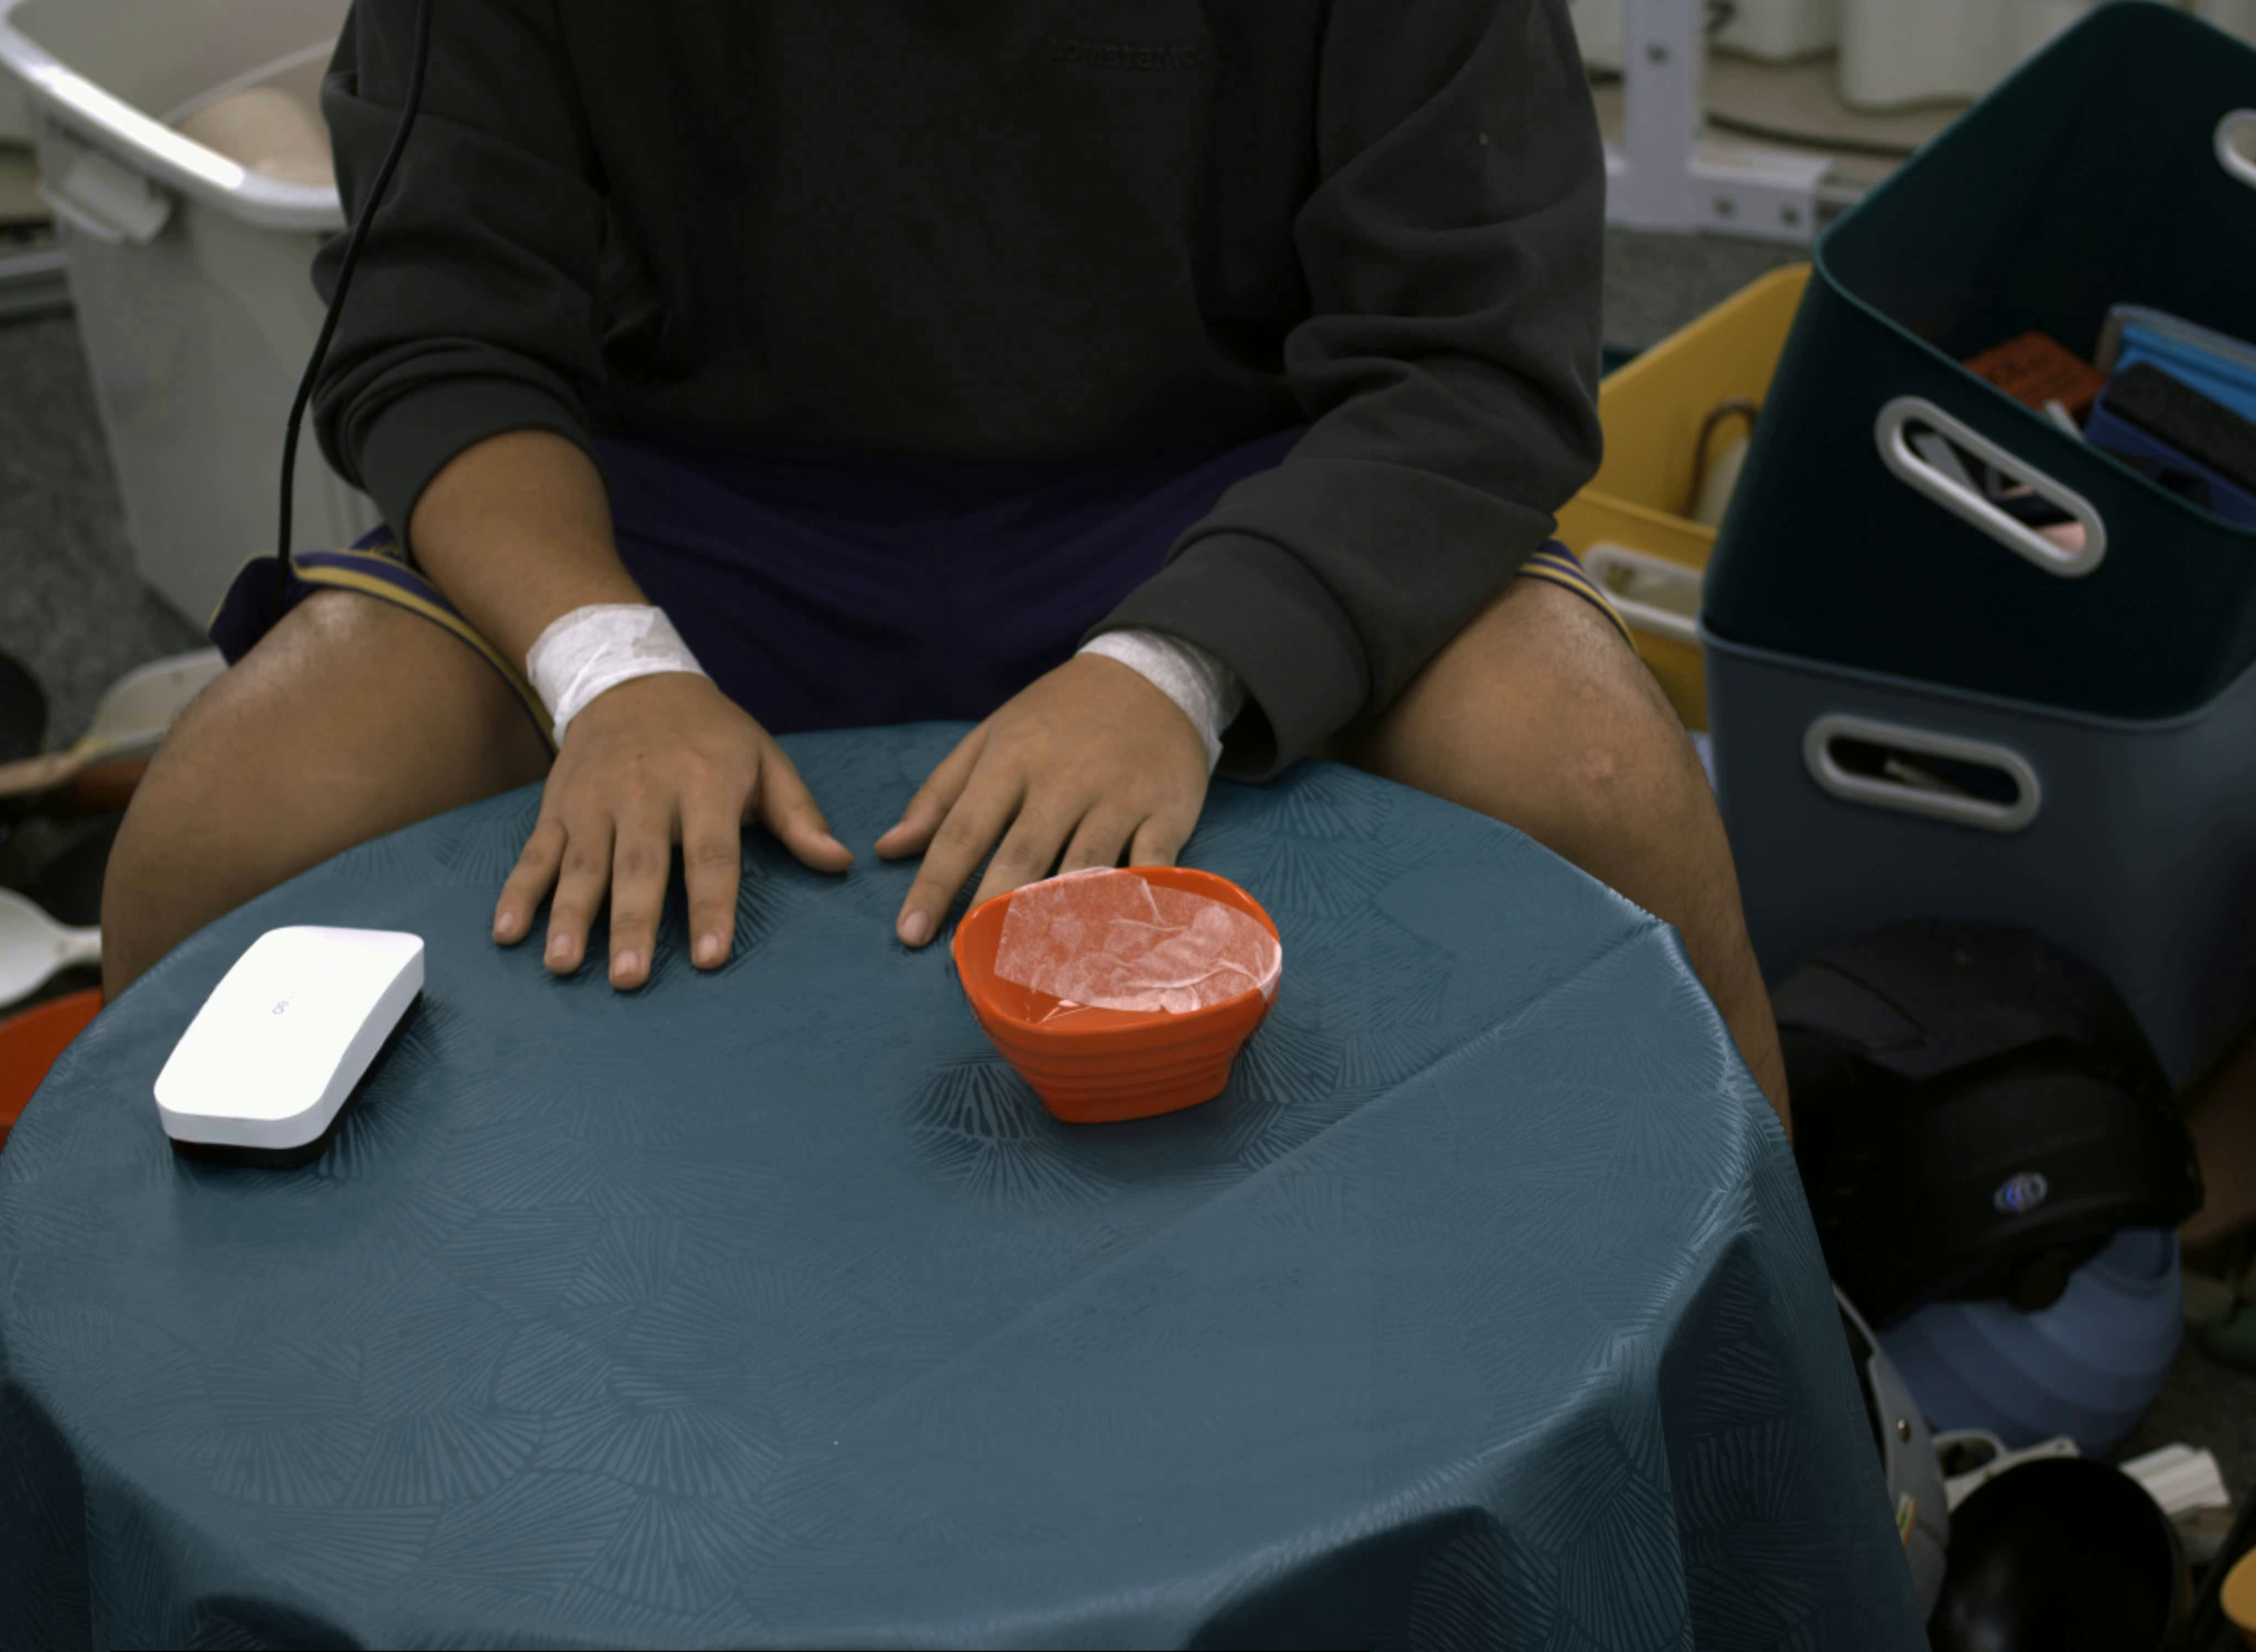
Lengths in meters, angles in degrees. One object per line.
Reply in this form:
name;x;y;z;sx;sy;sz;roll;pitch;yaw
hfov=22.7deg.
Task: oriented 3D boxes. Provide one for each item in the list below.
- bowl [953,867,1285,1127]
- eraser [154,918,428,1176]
bowl;-0.002;0.063;1.922;0.118;0.051;0.121;-3;27;2
eraser;-0.287;0.074;1.948;0.063;0.034;0.133;6;30;13
